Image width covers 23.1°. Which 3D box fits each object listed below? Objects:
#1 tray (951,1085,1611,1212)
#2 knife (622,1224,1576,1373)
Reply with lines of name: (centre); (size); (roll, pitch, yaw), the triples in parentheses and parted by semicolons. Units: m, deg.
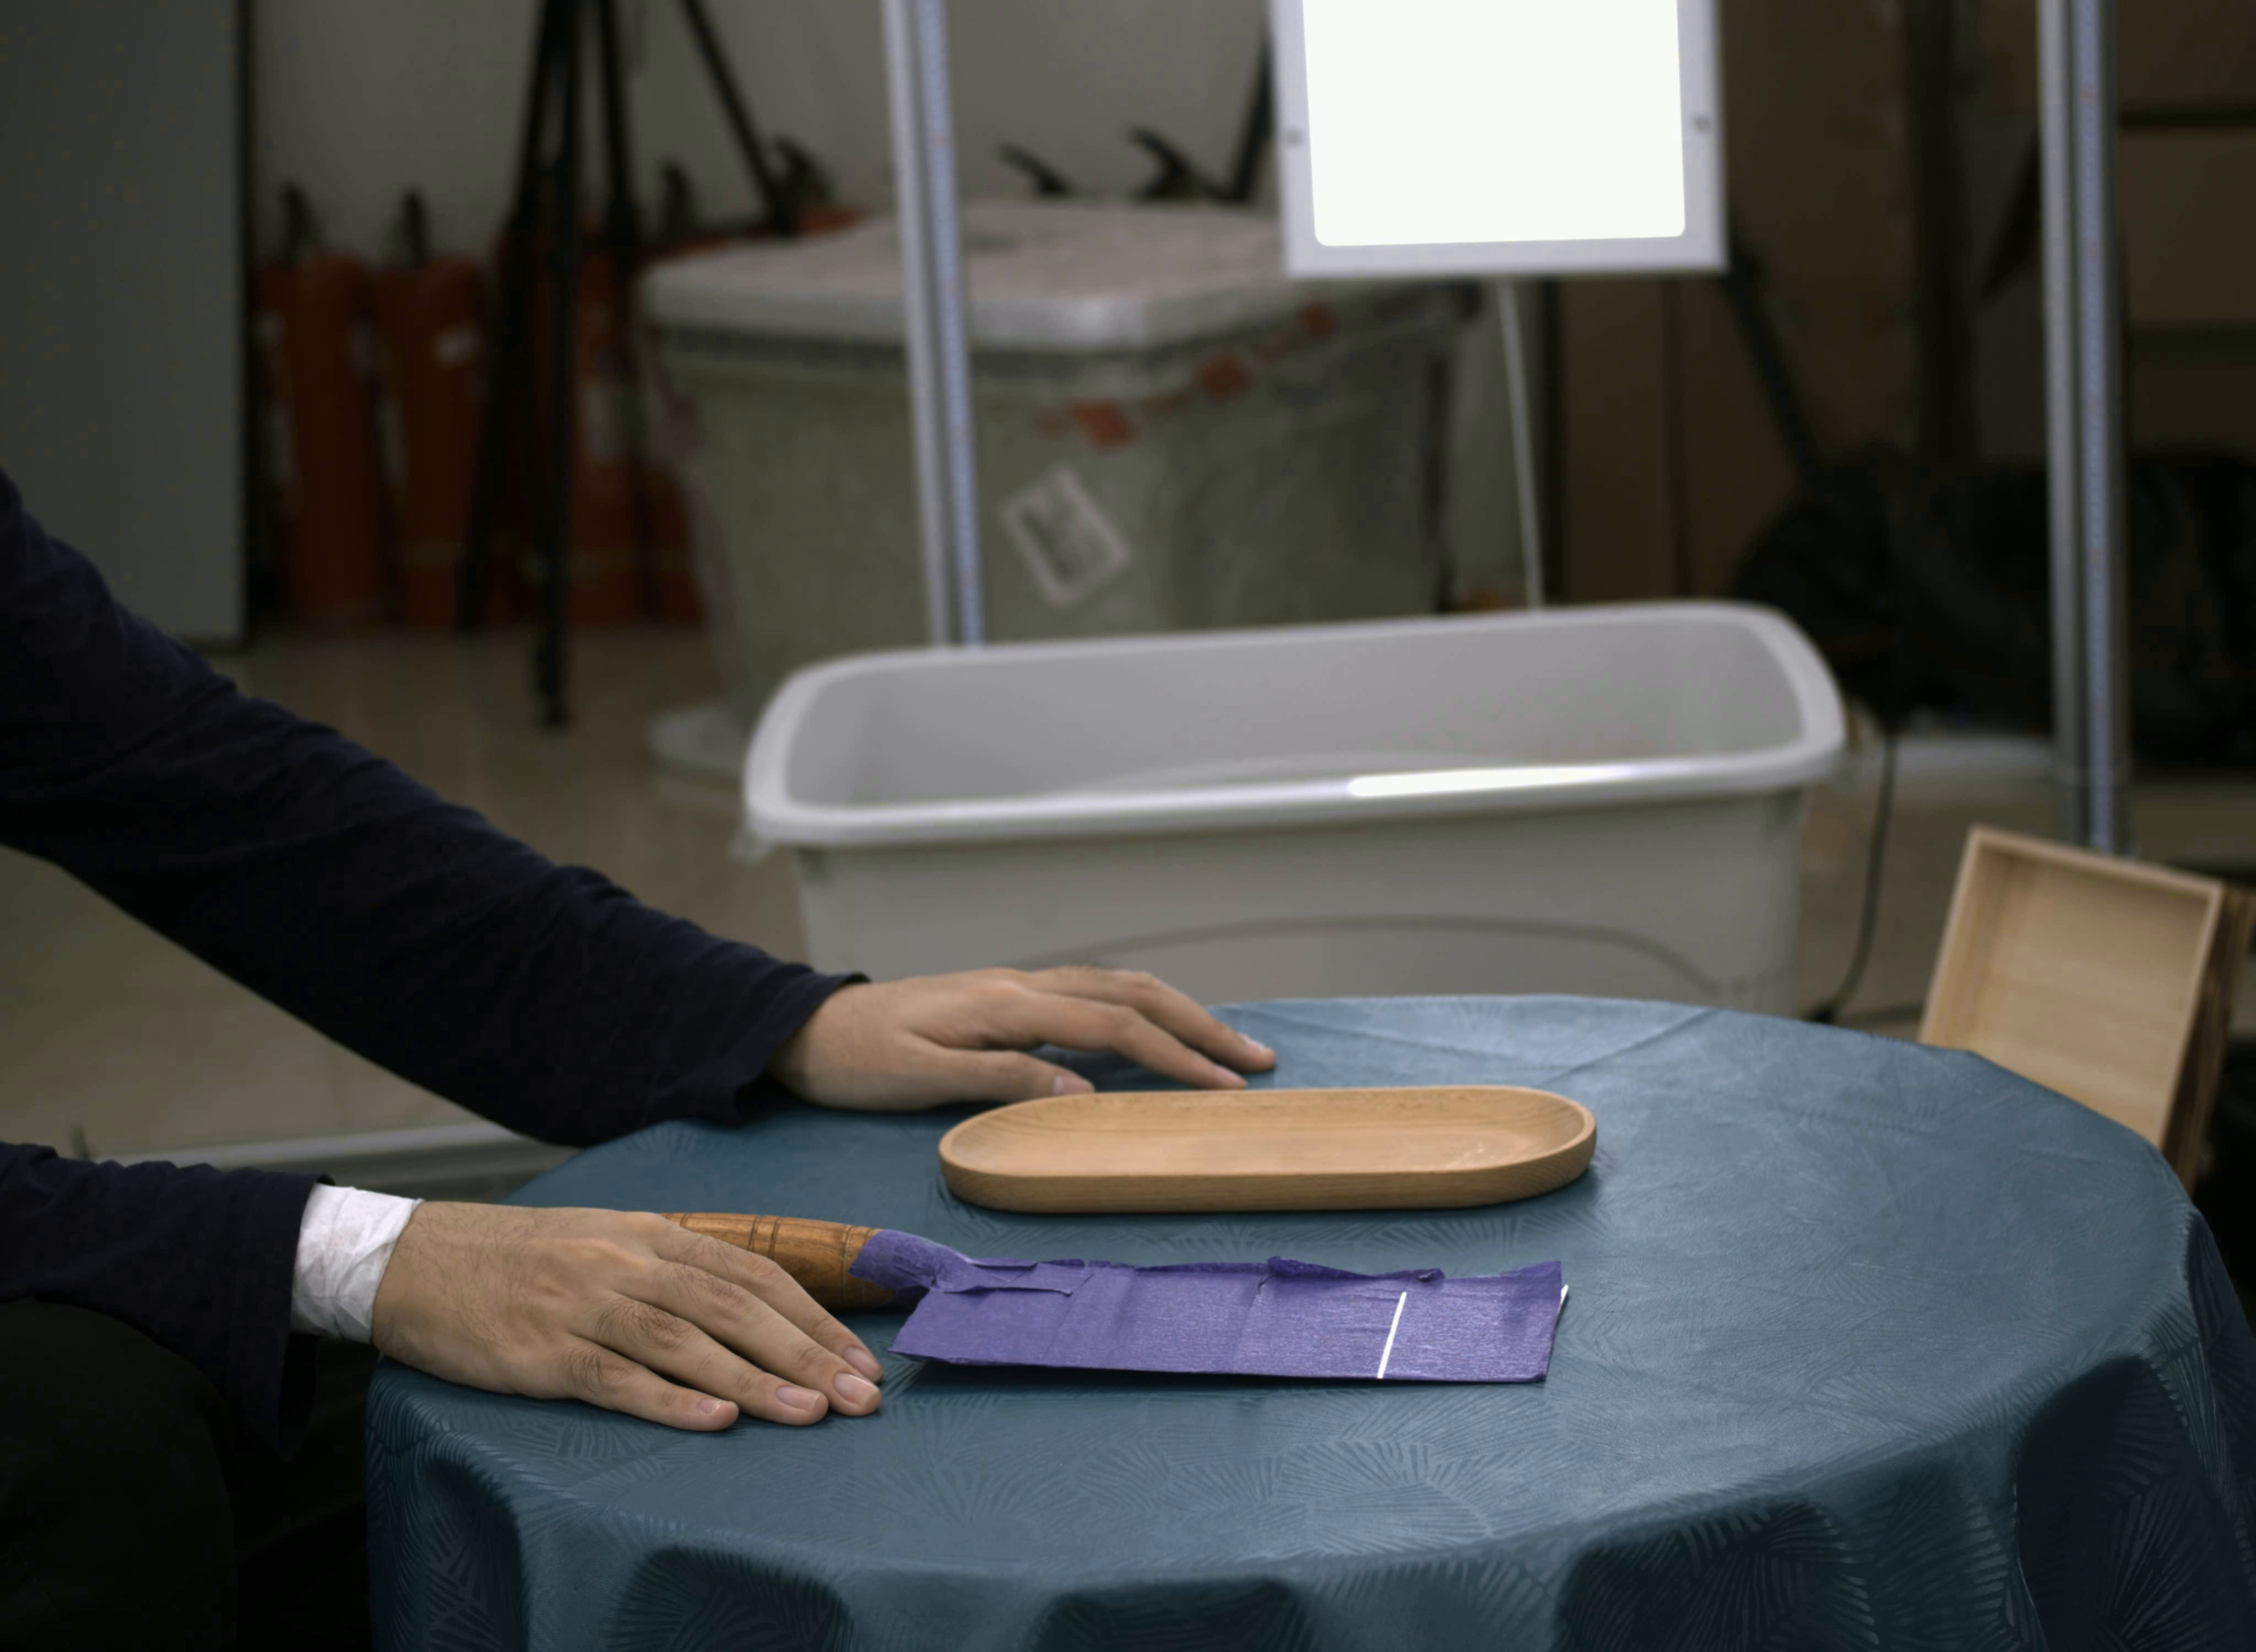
tray: (0.053, 0.112, 1.908); (0.233, 0.020, 0.100); (-1, 15, 12)
knife: (-0.016, 0.151, 1.754); (0.318, 0.032, 0.102); (-2, 14, 13)
